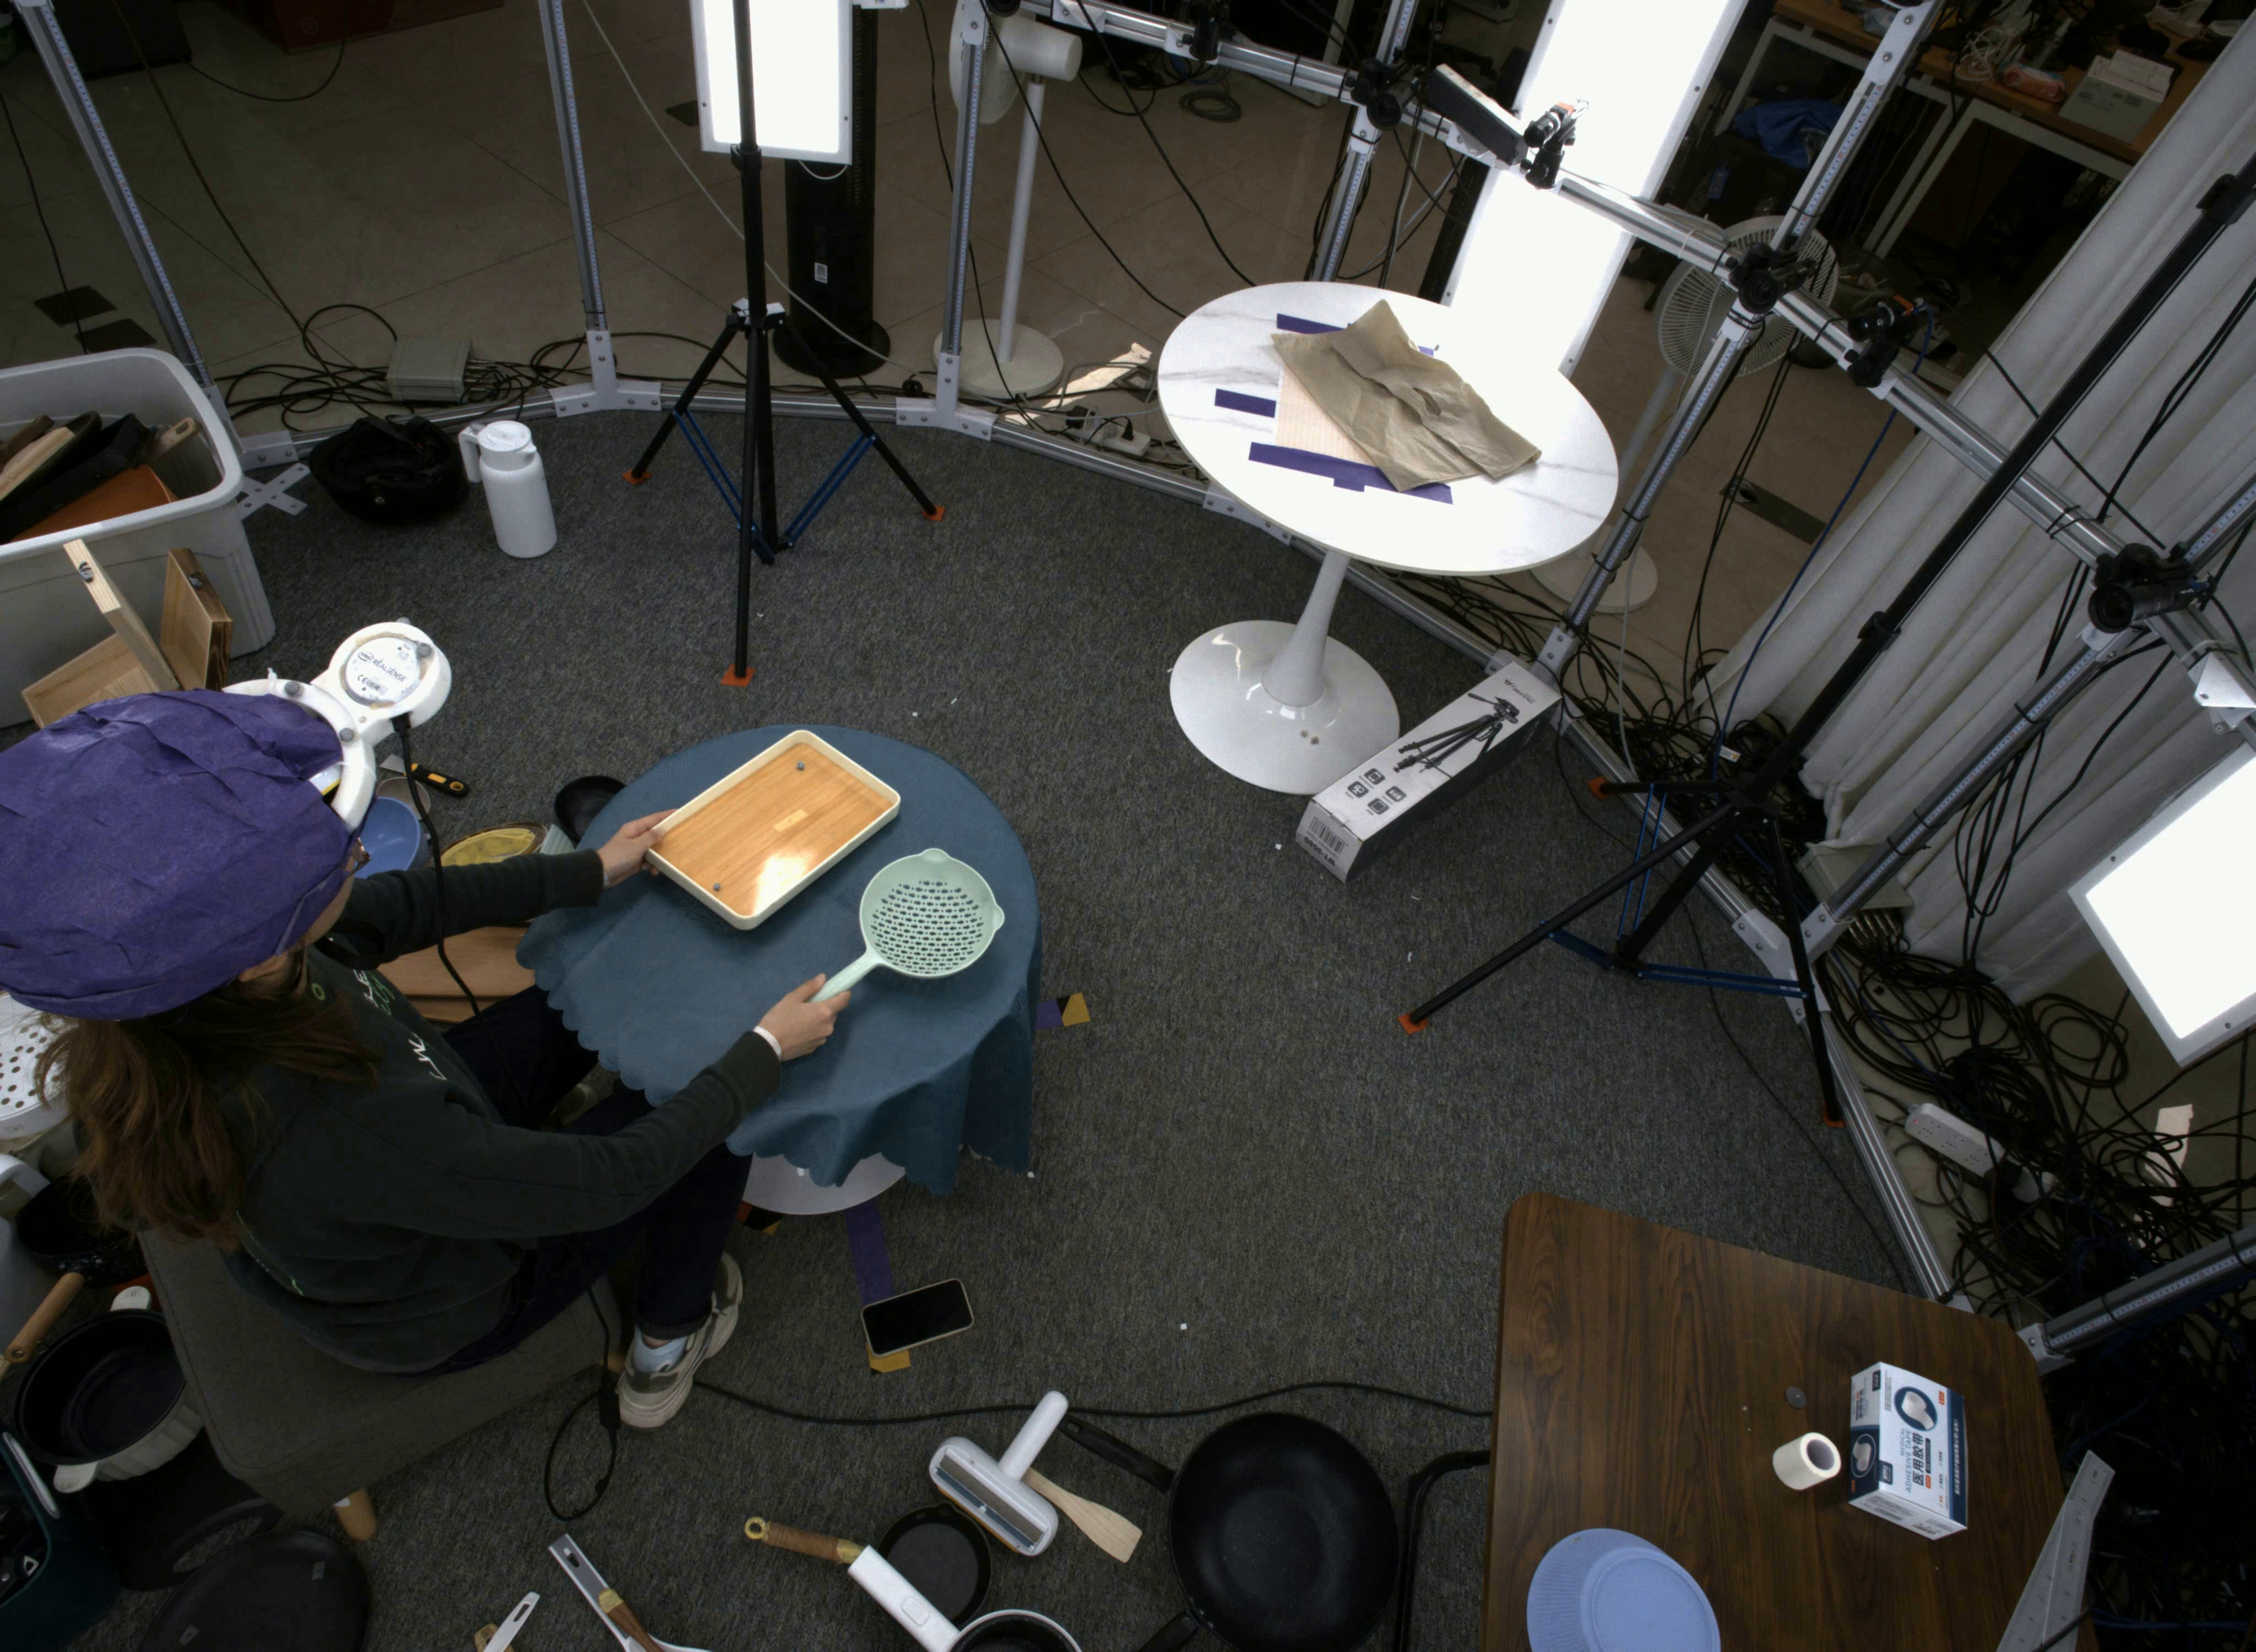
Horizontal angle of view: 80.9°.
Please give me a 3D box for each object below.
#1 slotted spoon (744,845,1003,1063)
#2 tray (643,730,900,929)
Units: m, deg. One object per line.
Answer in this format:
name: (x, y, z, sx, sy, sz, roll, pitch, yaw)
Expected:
slotted spoon: (-0.315, 0.164, 1.575, 0.167, 0.076, 0.360, 44, 52, 13)
tray: (-0.459, -0.004, 1.686, 0.188, 0.028, 0.300, 34, 47, 12)
